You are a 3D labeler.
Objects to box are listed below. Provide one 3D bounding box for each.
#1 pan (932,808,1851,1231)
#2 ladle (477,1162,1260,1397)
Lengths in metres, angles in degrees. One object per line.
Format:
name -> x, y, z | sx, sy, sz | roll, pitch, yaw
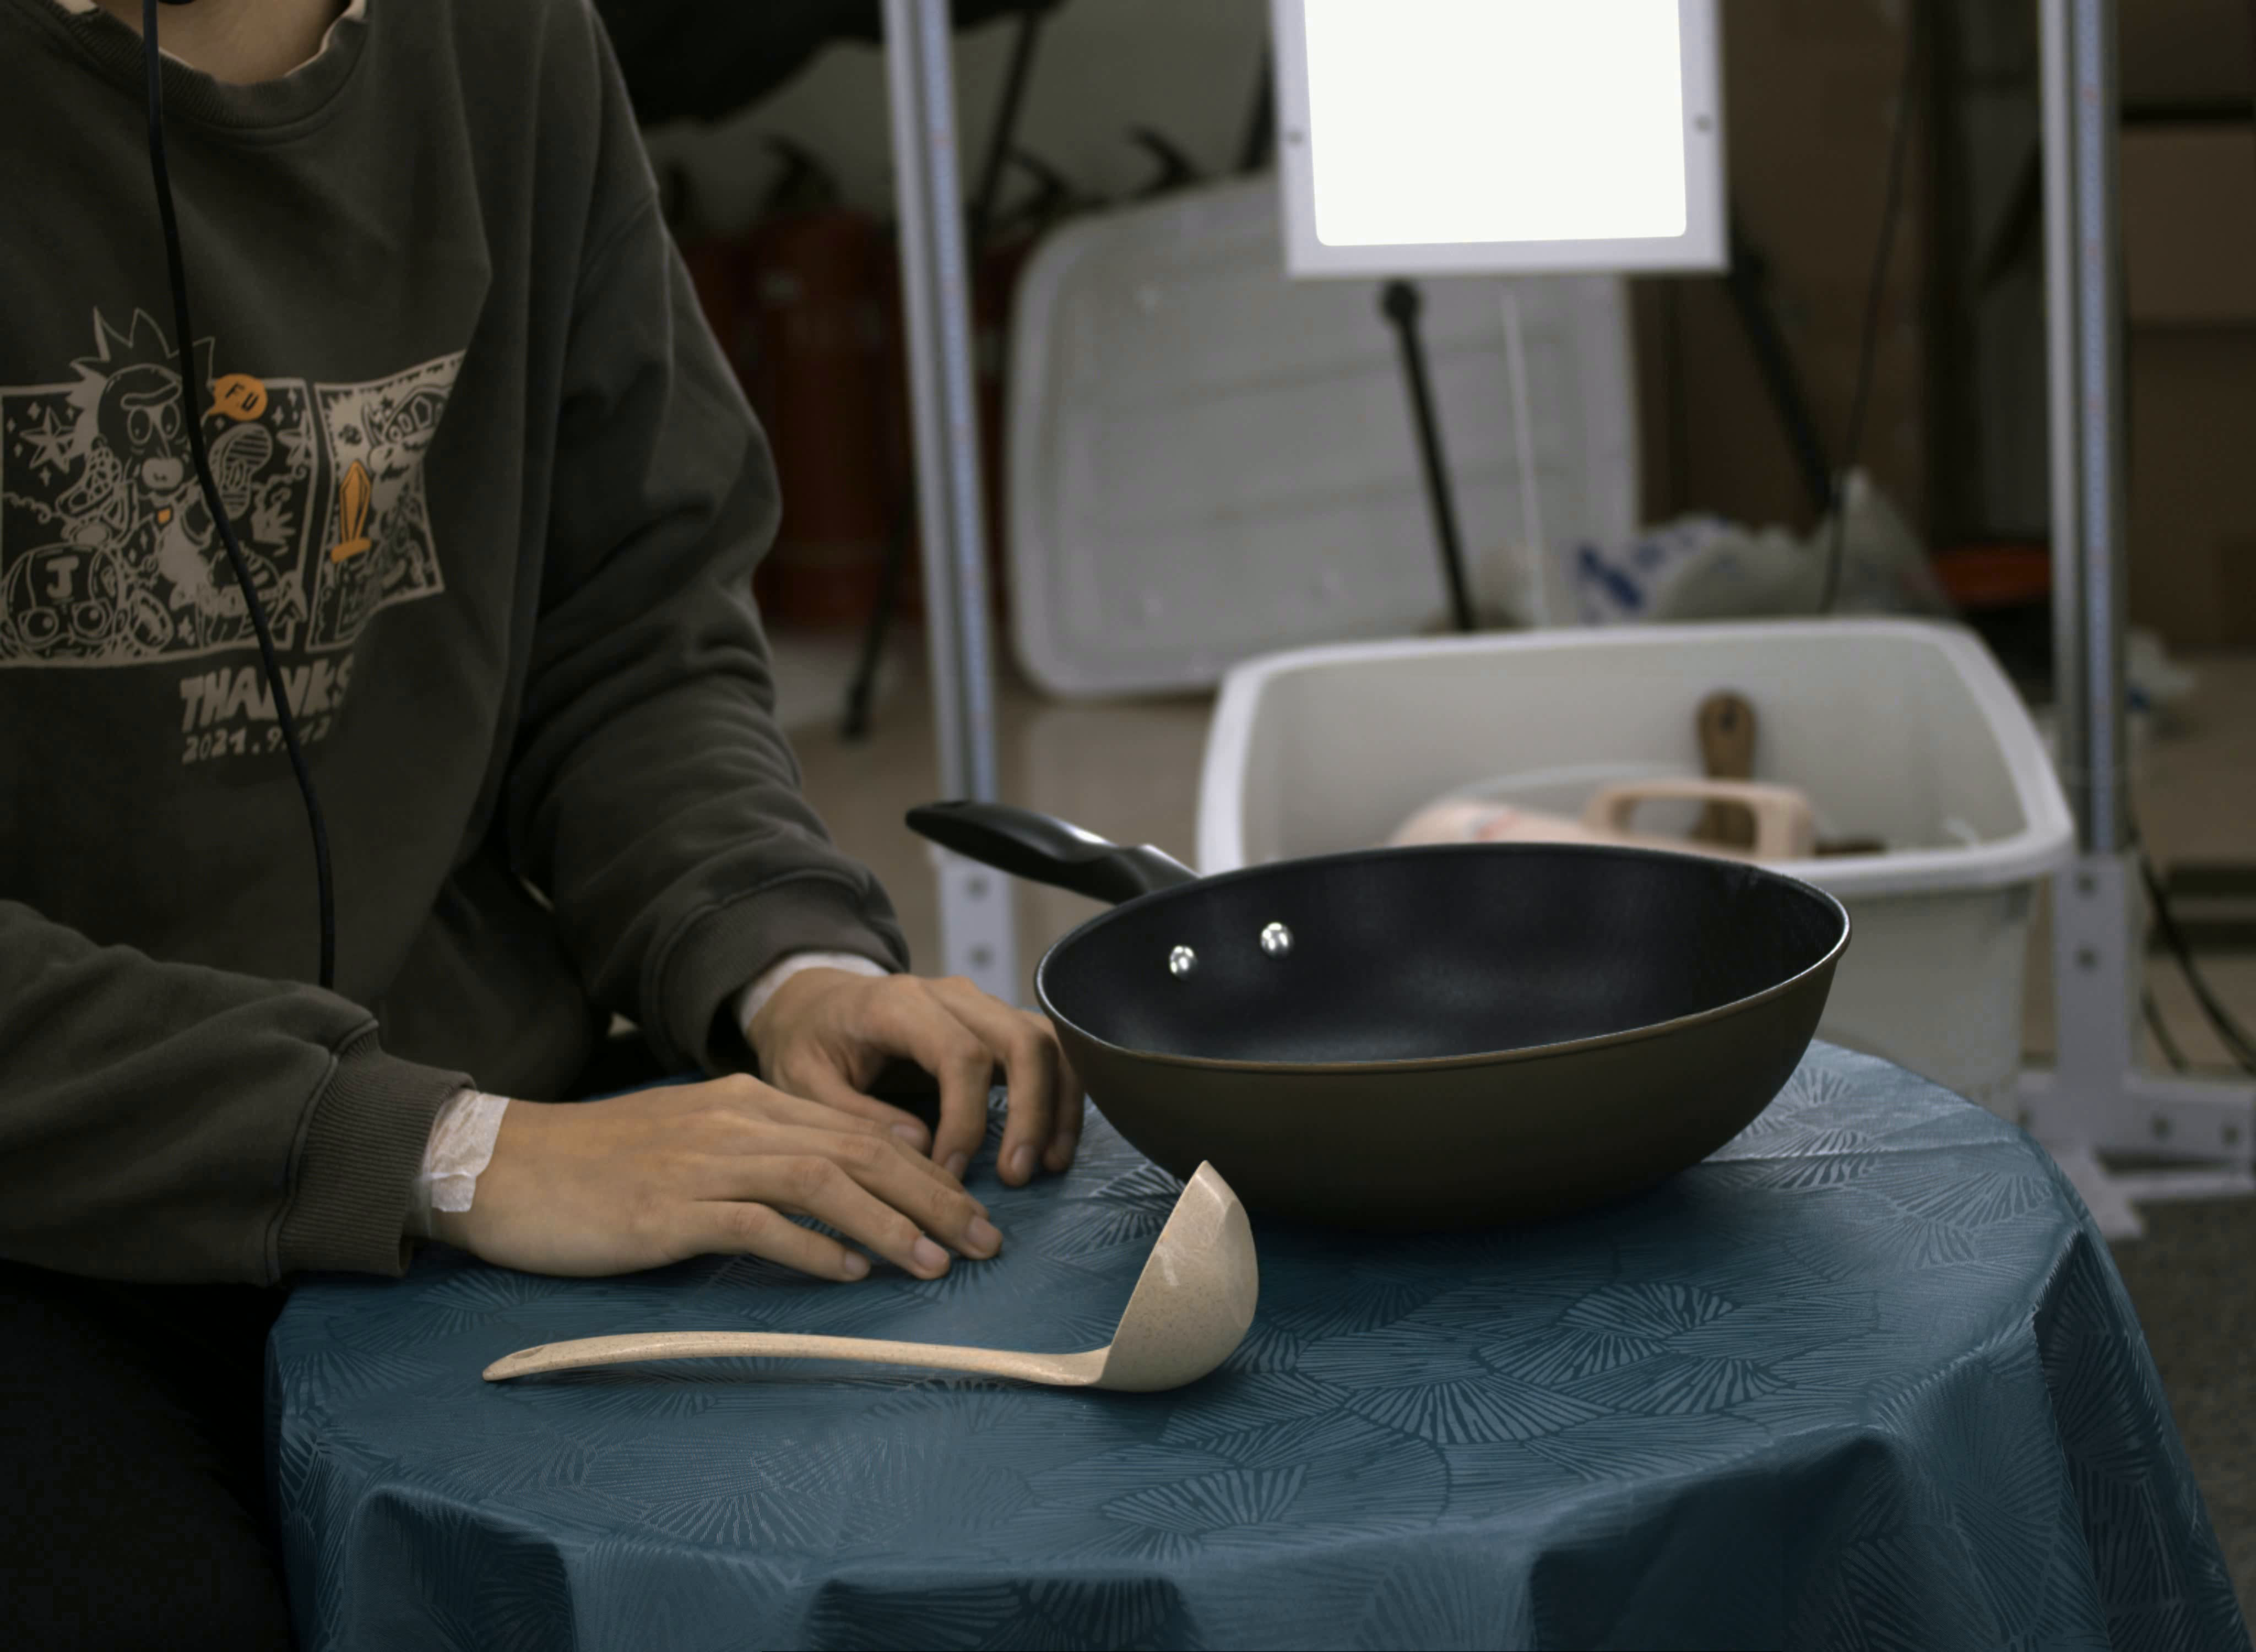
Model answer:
pan -> 0.057, 0.064, 1.956 | 0.281, 0.087, 0.472 | -14, 15, -31
ladle -> -0.086, 0.140, 1.720 | 0.256, 0.073, 0.071 | 0, 21, 14
